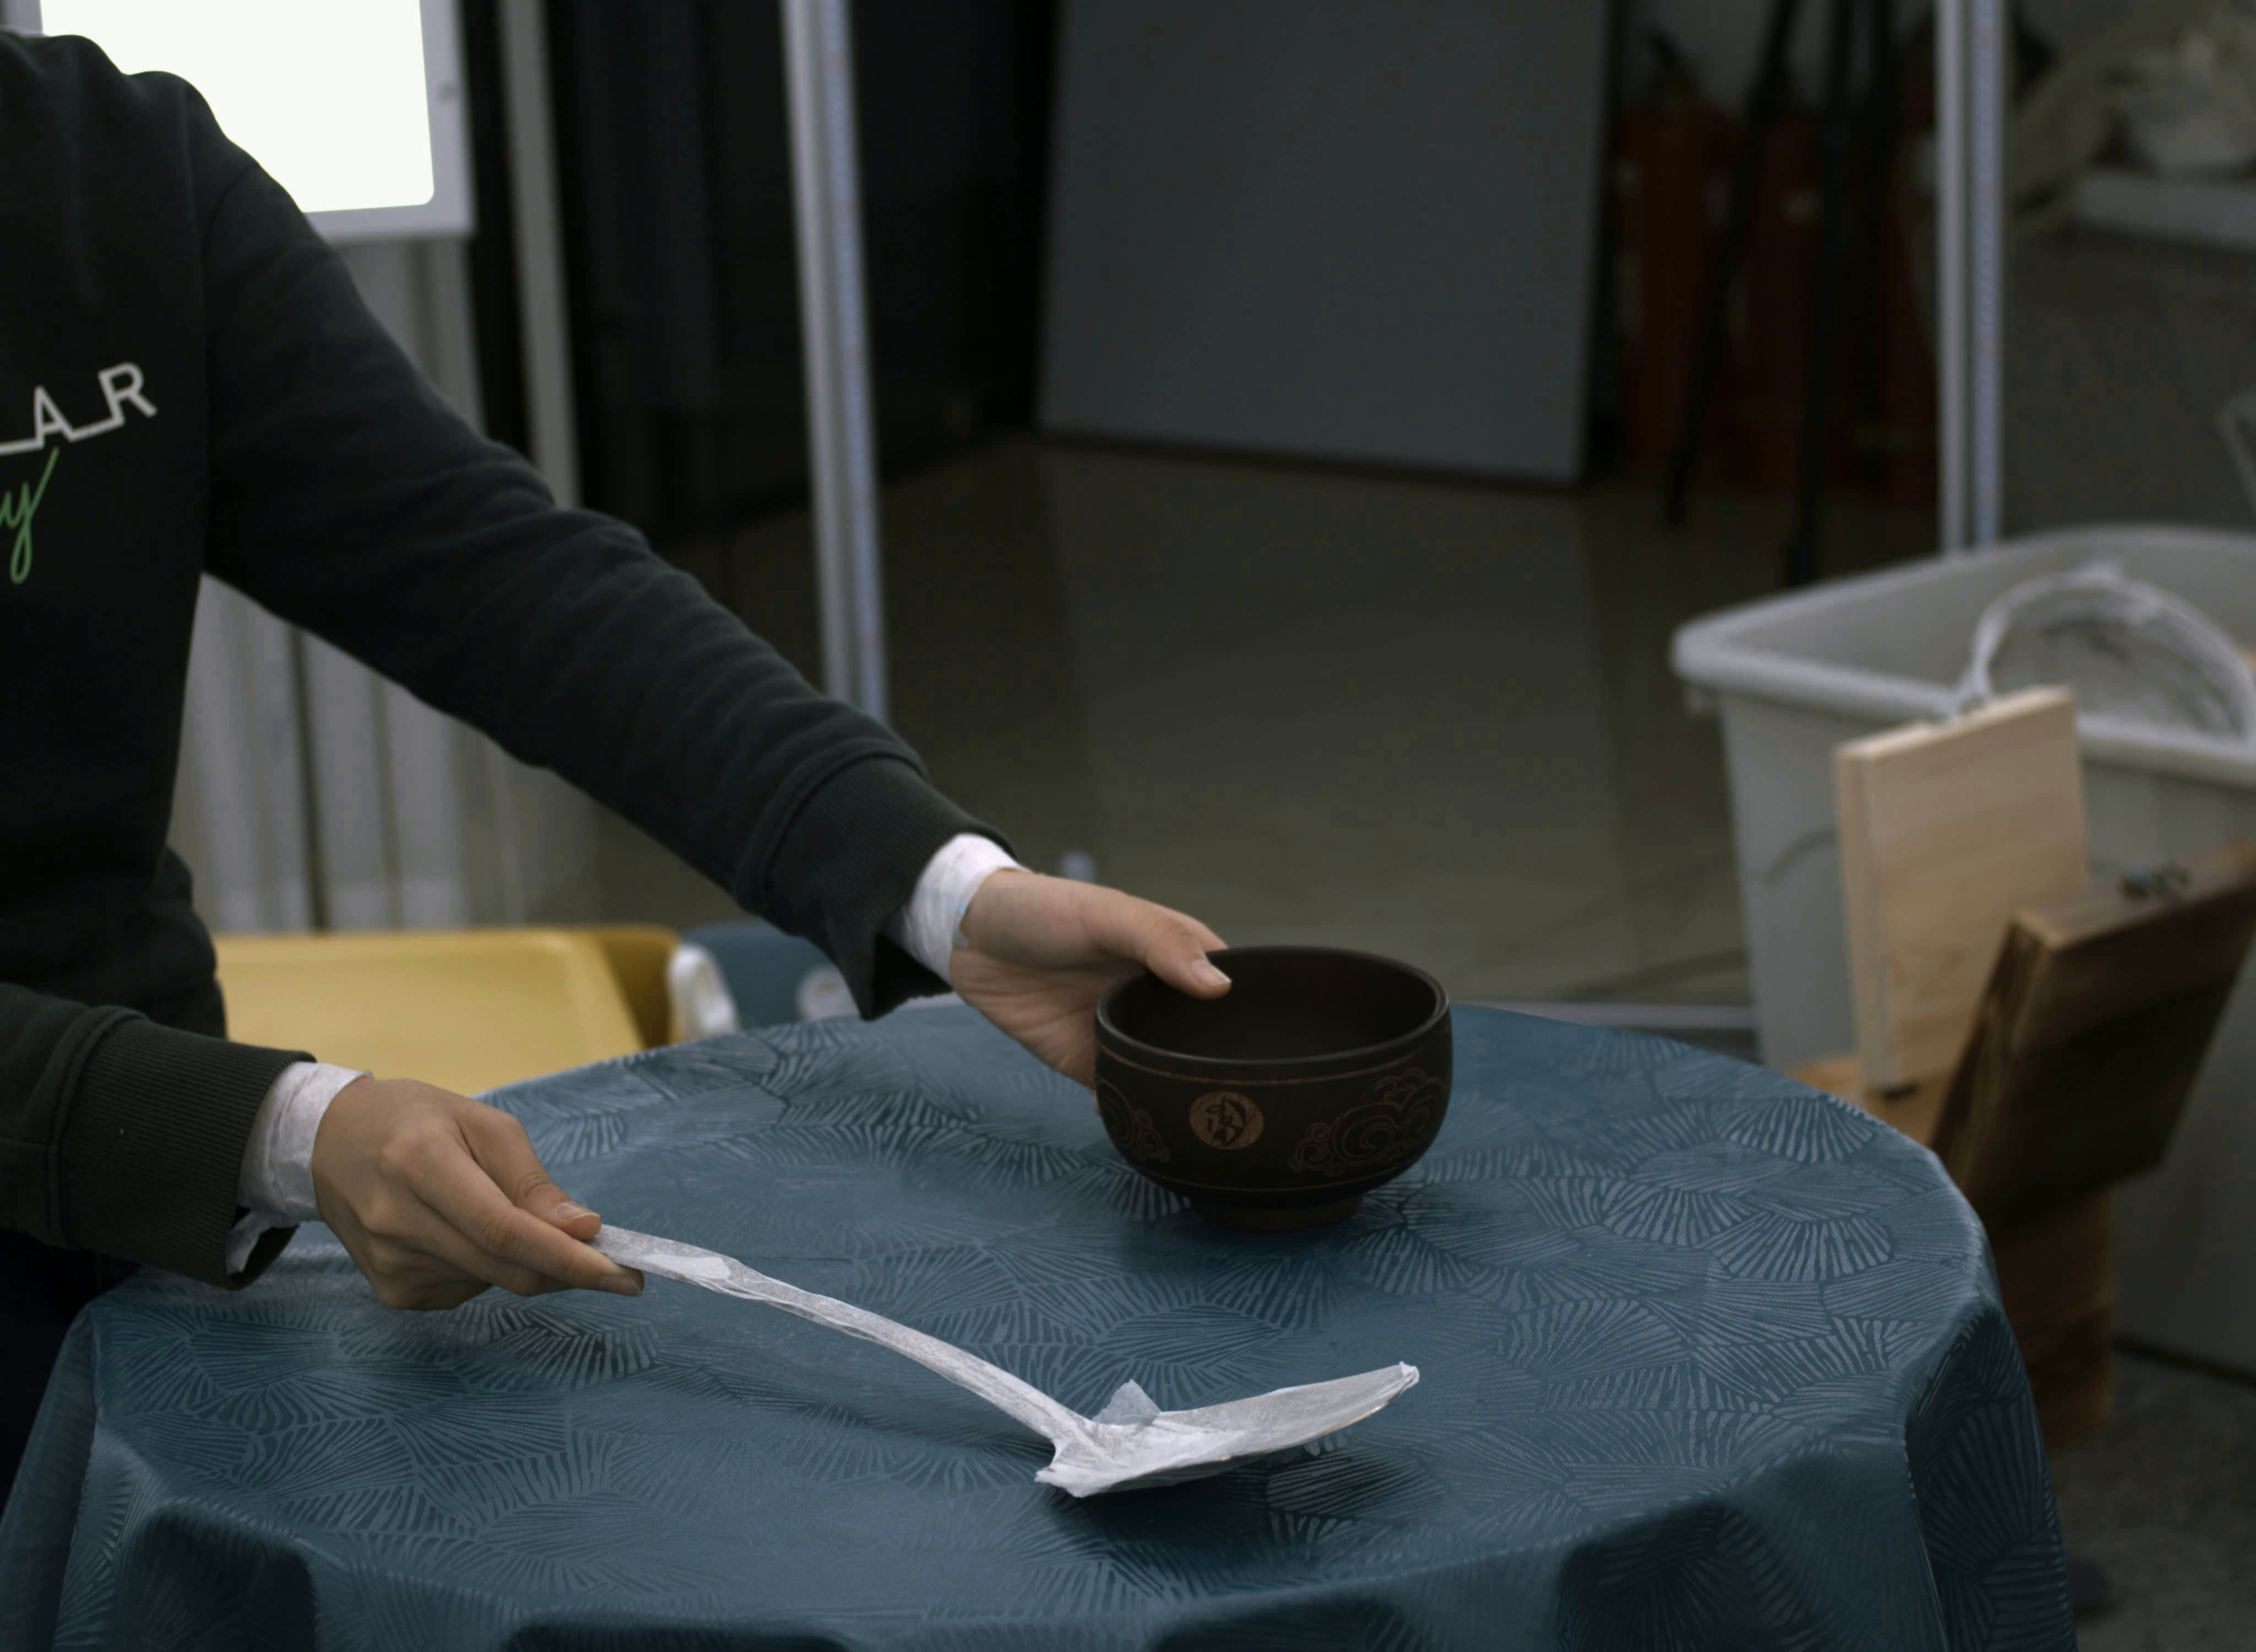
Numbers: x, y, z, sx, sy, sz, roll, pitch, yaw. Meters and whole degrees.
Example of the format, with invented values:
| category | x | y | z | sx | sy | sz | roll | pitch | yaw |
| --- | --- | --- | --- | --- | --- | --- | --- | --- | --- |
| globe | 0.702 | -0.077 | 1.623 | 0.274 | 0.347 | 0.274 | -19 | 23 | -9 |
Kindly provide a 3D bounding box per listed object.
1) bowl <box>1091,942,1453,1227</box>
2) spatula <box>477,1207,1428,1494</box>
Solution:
| category | x | y | z | sx | sy | sz | roll | pitch | yaw |
| --- | --- | --- | --- | --- | --- | --- | --- | --- | --- |
| bowl | 0.047 | 0.087 | 1.737 | 0.116 | 0.070 | 0.118 | -2 | 15 | 0 |
| spatula | -0.073 | 0.143 | 1.585 | 0.368 | 0.045 | 0.097 | 15 | 23 | 39 |
